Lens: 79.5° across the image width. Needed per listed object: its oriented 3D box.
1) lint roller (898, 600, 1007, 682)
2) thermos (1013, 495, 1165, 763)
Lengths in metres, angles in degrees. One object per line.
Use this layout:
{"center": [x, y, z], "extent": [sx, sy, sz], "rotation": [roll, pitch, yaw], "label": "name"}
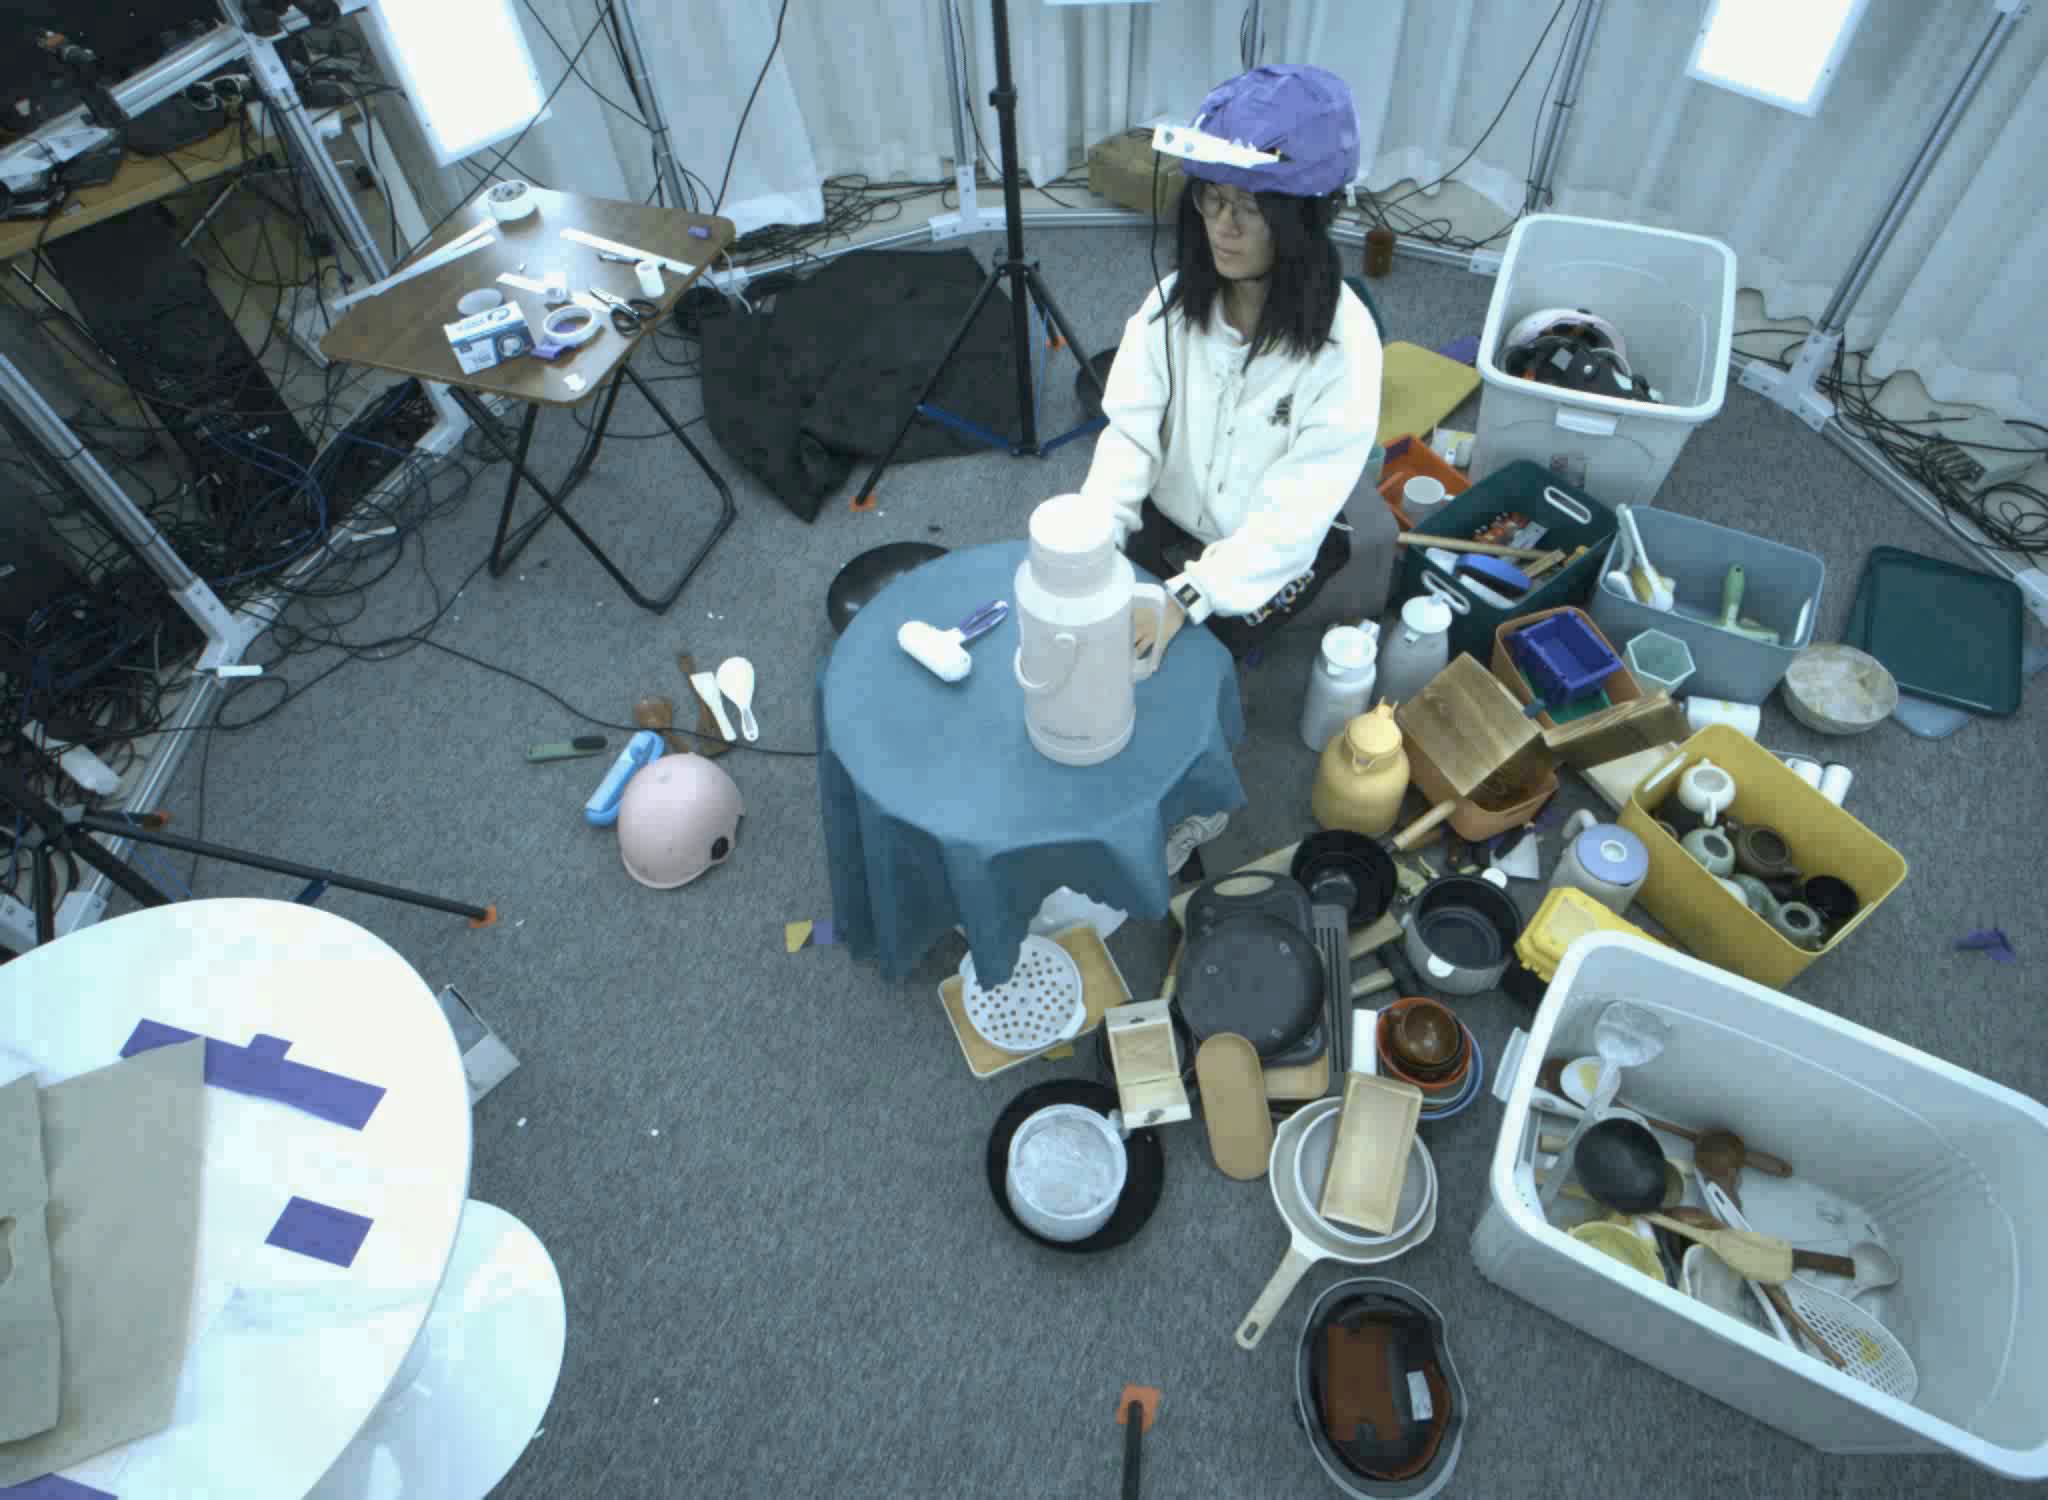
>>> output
{"center": [-0.094, -0.188, 1.894], "extent": [0.182, 0.051, 0.130], "rotation": [-40, 62, -21], "label": "lint roller"}
{"center": [0.083, -0.155, 1.651], "extent": [0.206, 0.411, 0.174], "rotation": [6, 55, 7], "label": "thermos"}
